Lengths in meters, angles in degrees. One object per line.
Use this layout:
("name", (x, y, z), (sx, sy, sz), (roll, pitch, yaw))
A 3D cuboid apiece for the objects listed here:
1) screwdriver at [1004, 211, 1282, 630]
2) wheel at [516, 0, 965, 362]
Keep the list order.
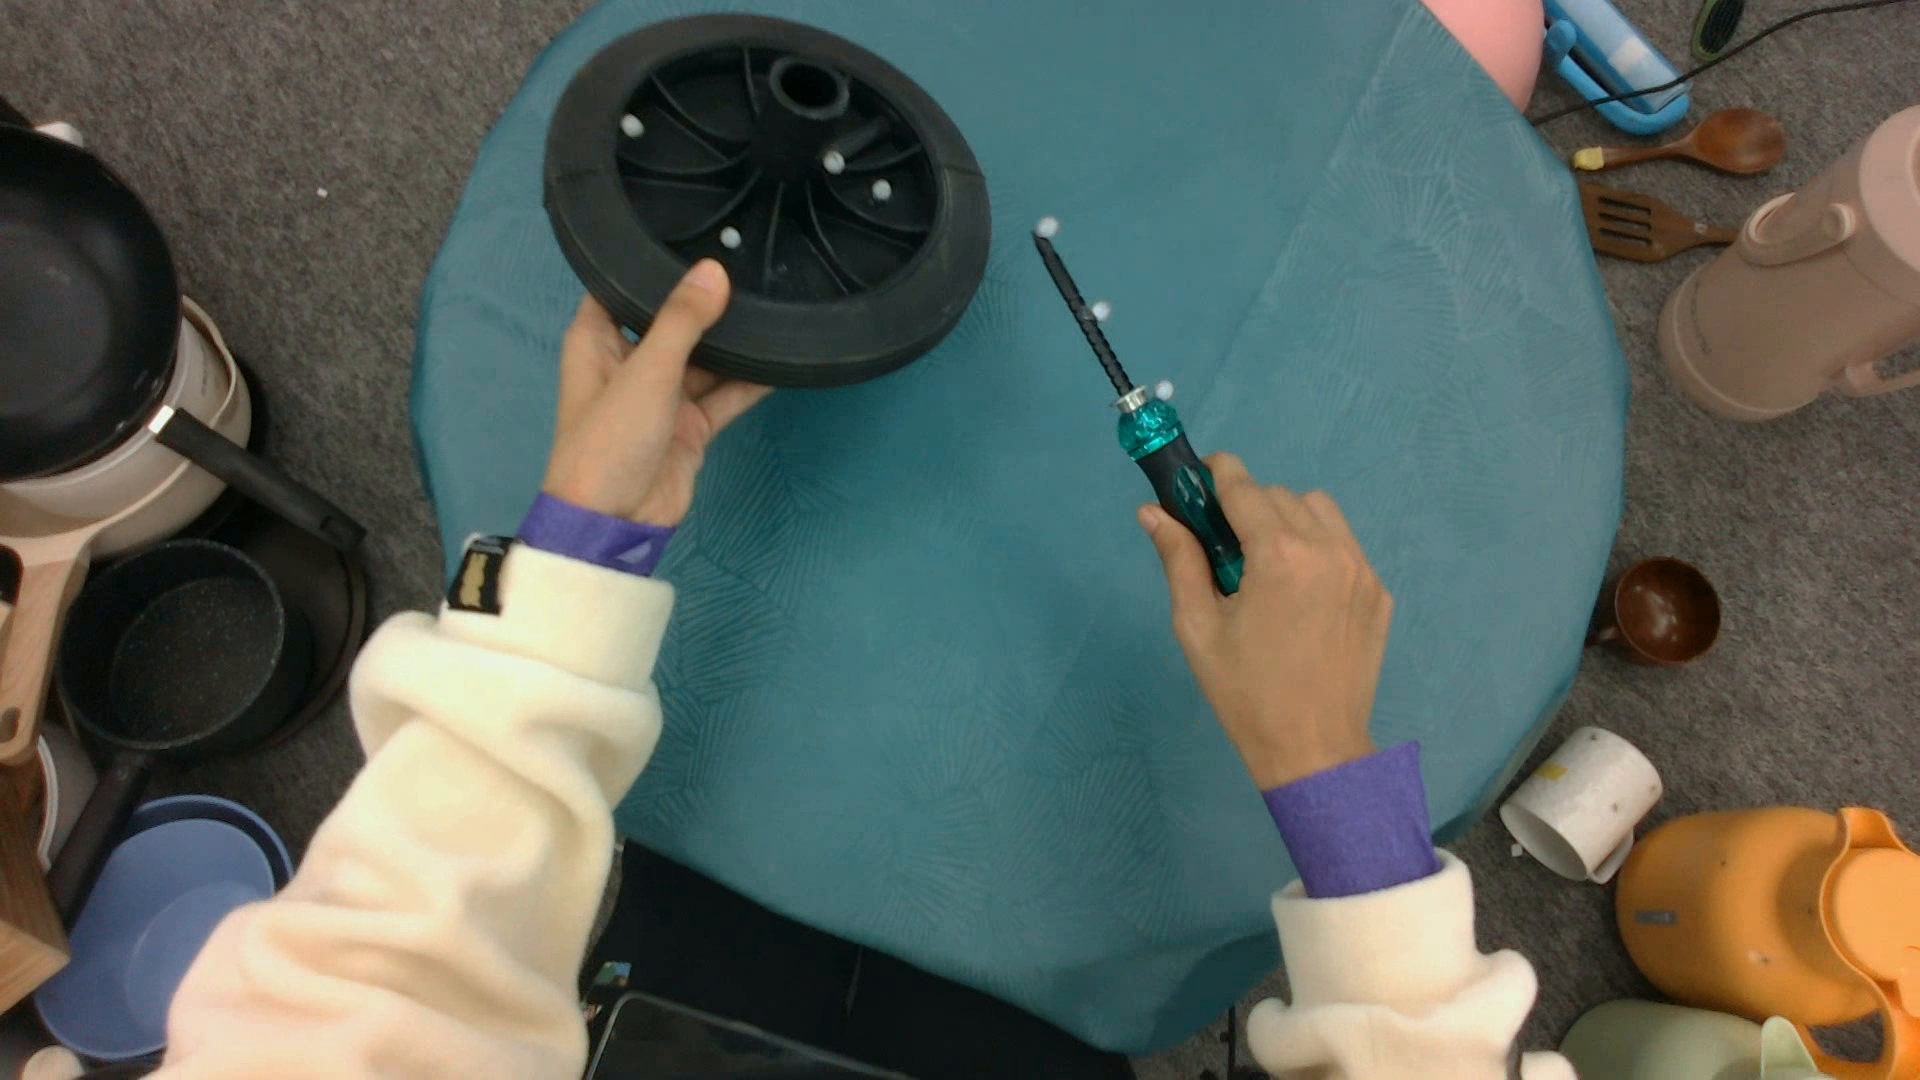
("screwdriver", (0.069, -0.049, 0.547), (0.034, 0.033, 0.190), (-33, 92, -11))
("wheel", (-0.081, -0.167, 0.560), (0.187, 0.079, 0.191), (24, 55, -7))
